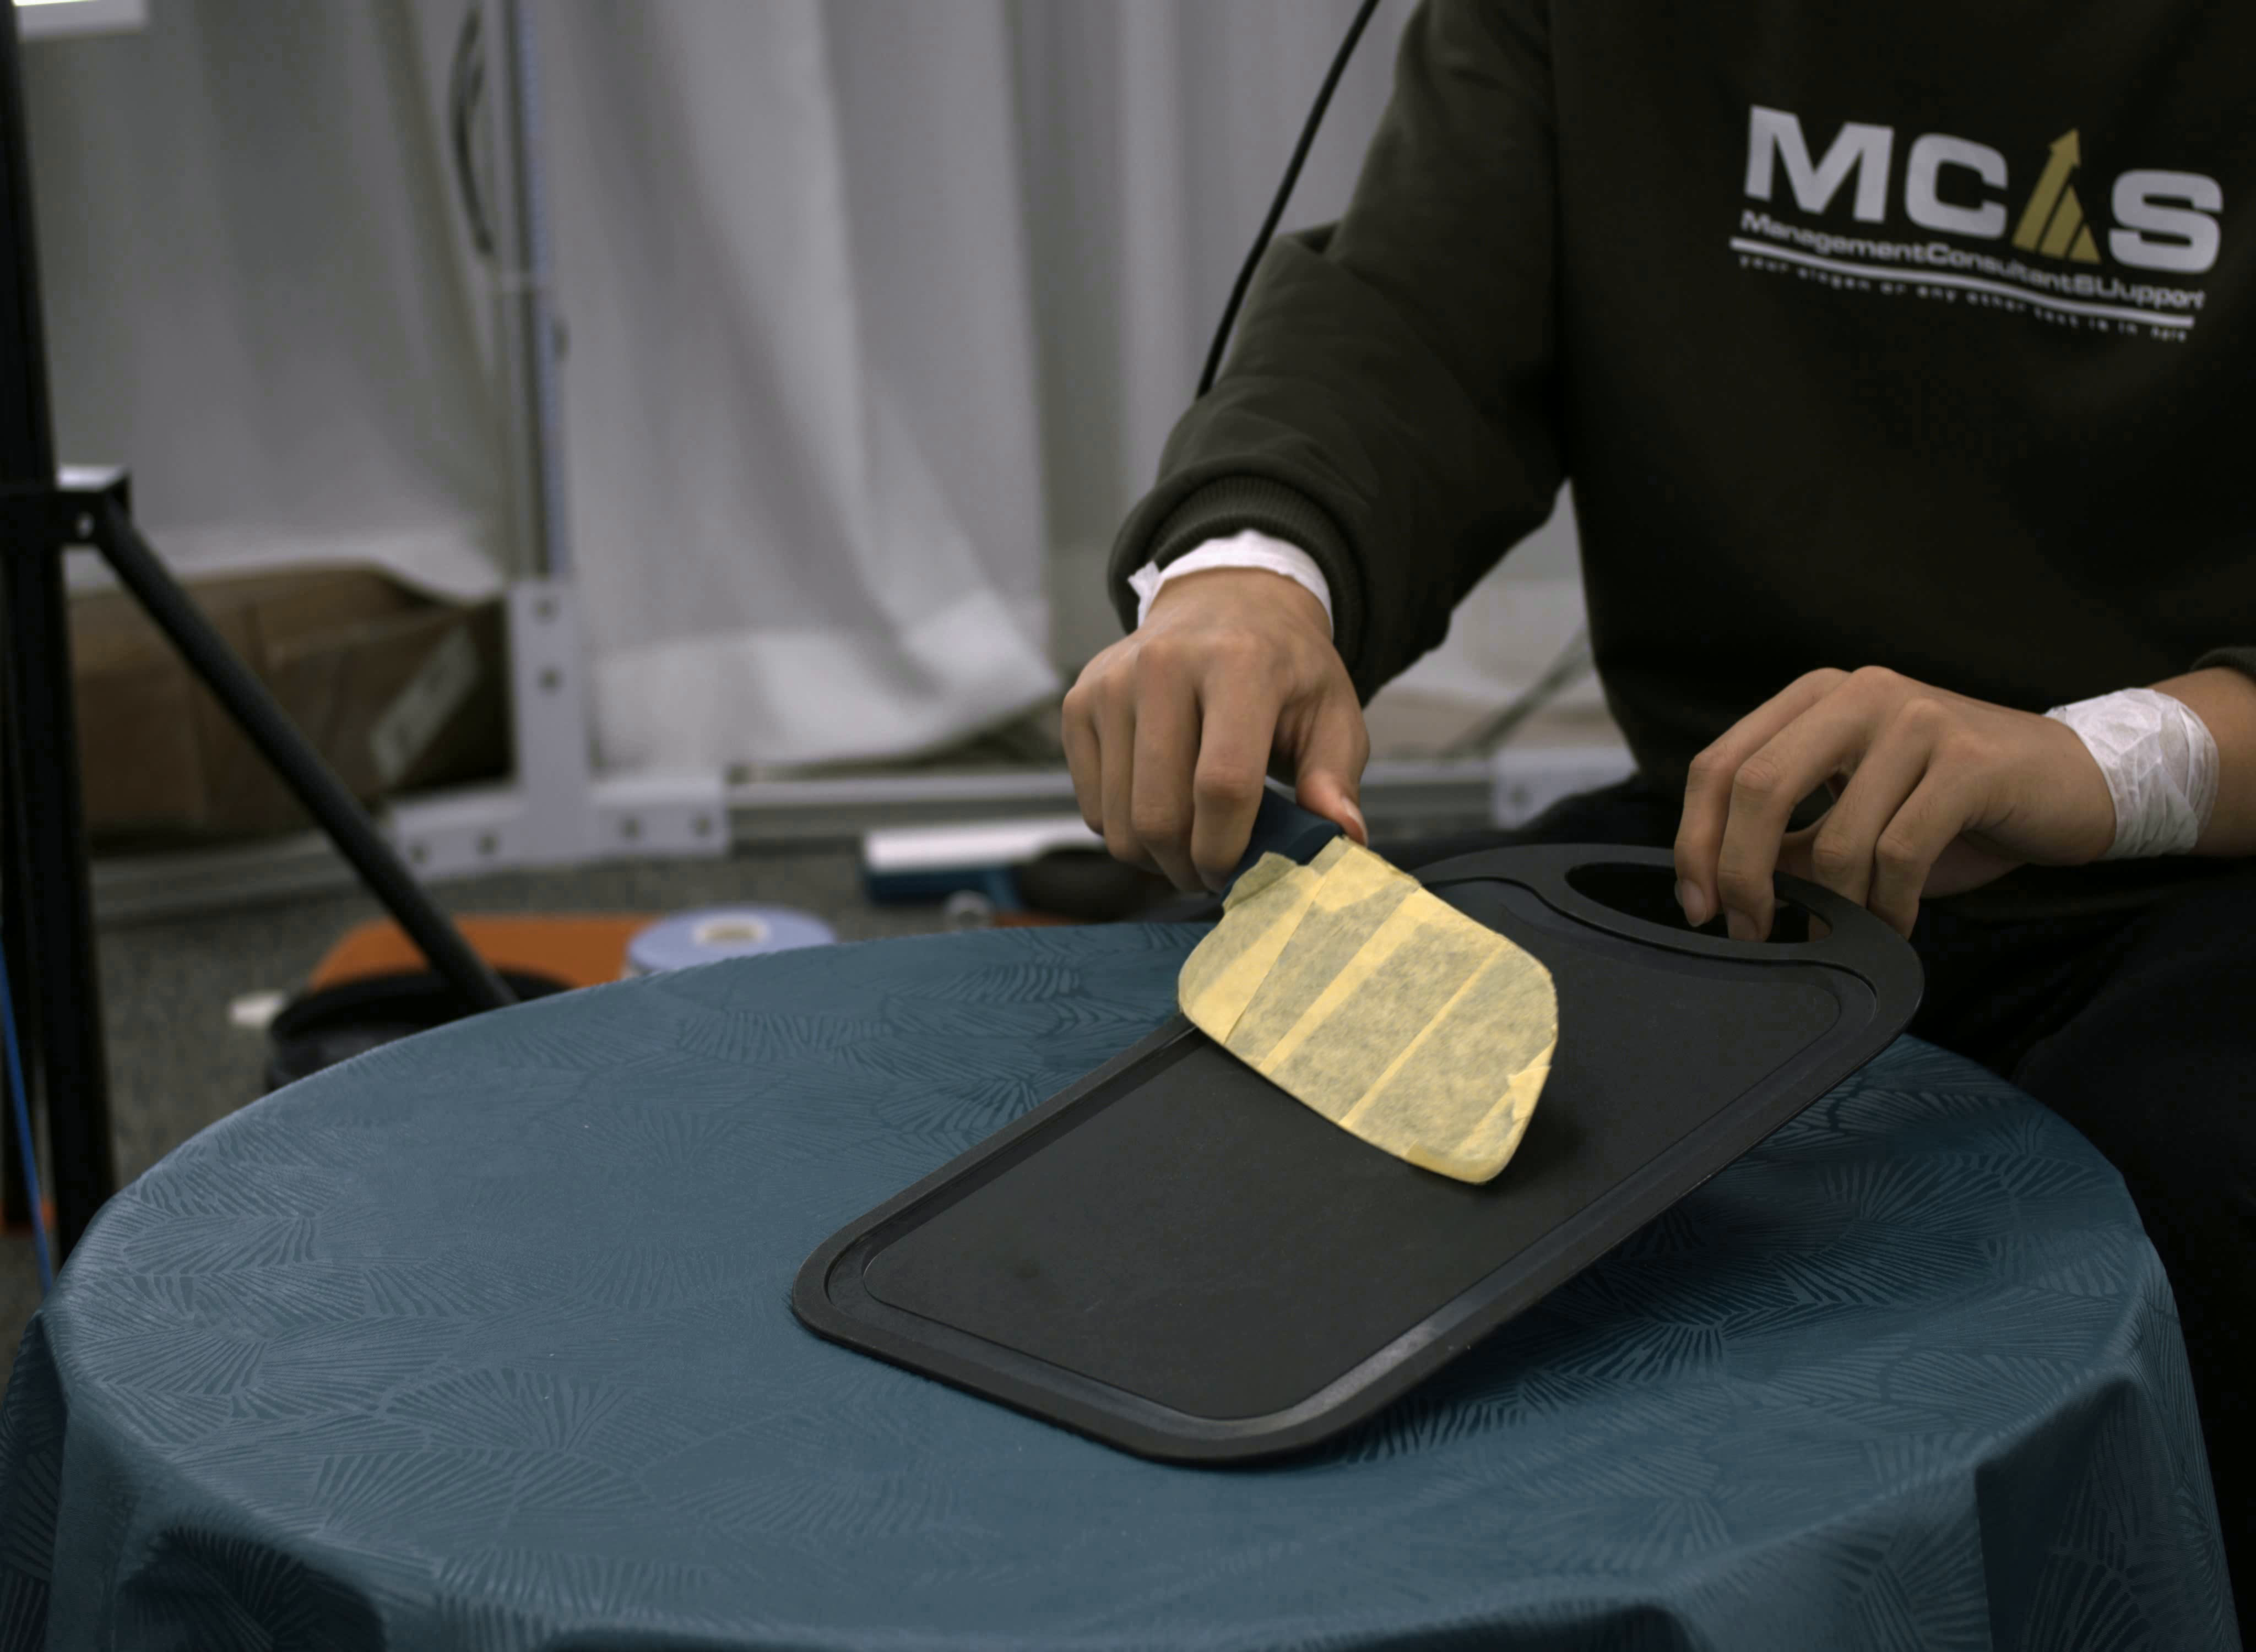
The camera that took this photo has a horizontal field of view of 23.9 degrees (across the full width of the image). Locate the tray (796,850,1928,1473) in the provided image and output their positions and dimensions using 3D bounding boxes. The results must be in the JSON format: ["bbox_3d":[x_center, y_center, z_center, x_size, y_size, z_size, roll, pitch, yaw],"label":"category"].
[{"bbox_3d":[0.073,0.082,1.499,0.320,0.010,0.216,-31,30,-33],"label":"tray"}]

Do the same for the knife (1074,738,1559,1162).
[{"bbox_3d":[0.046,0.034,1.575,0.081,0.027,0.295,-44,32,-5],"label":"knife"}]
